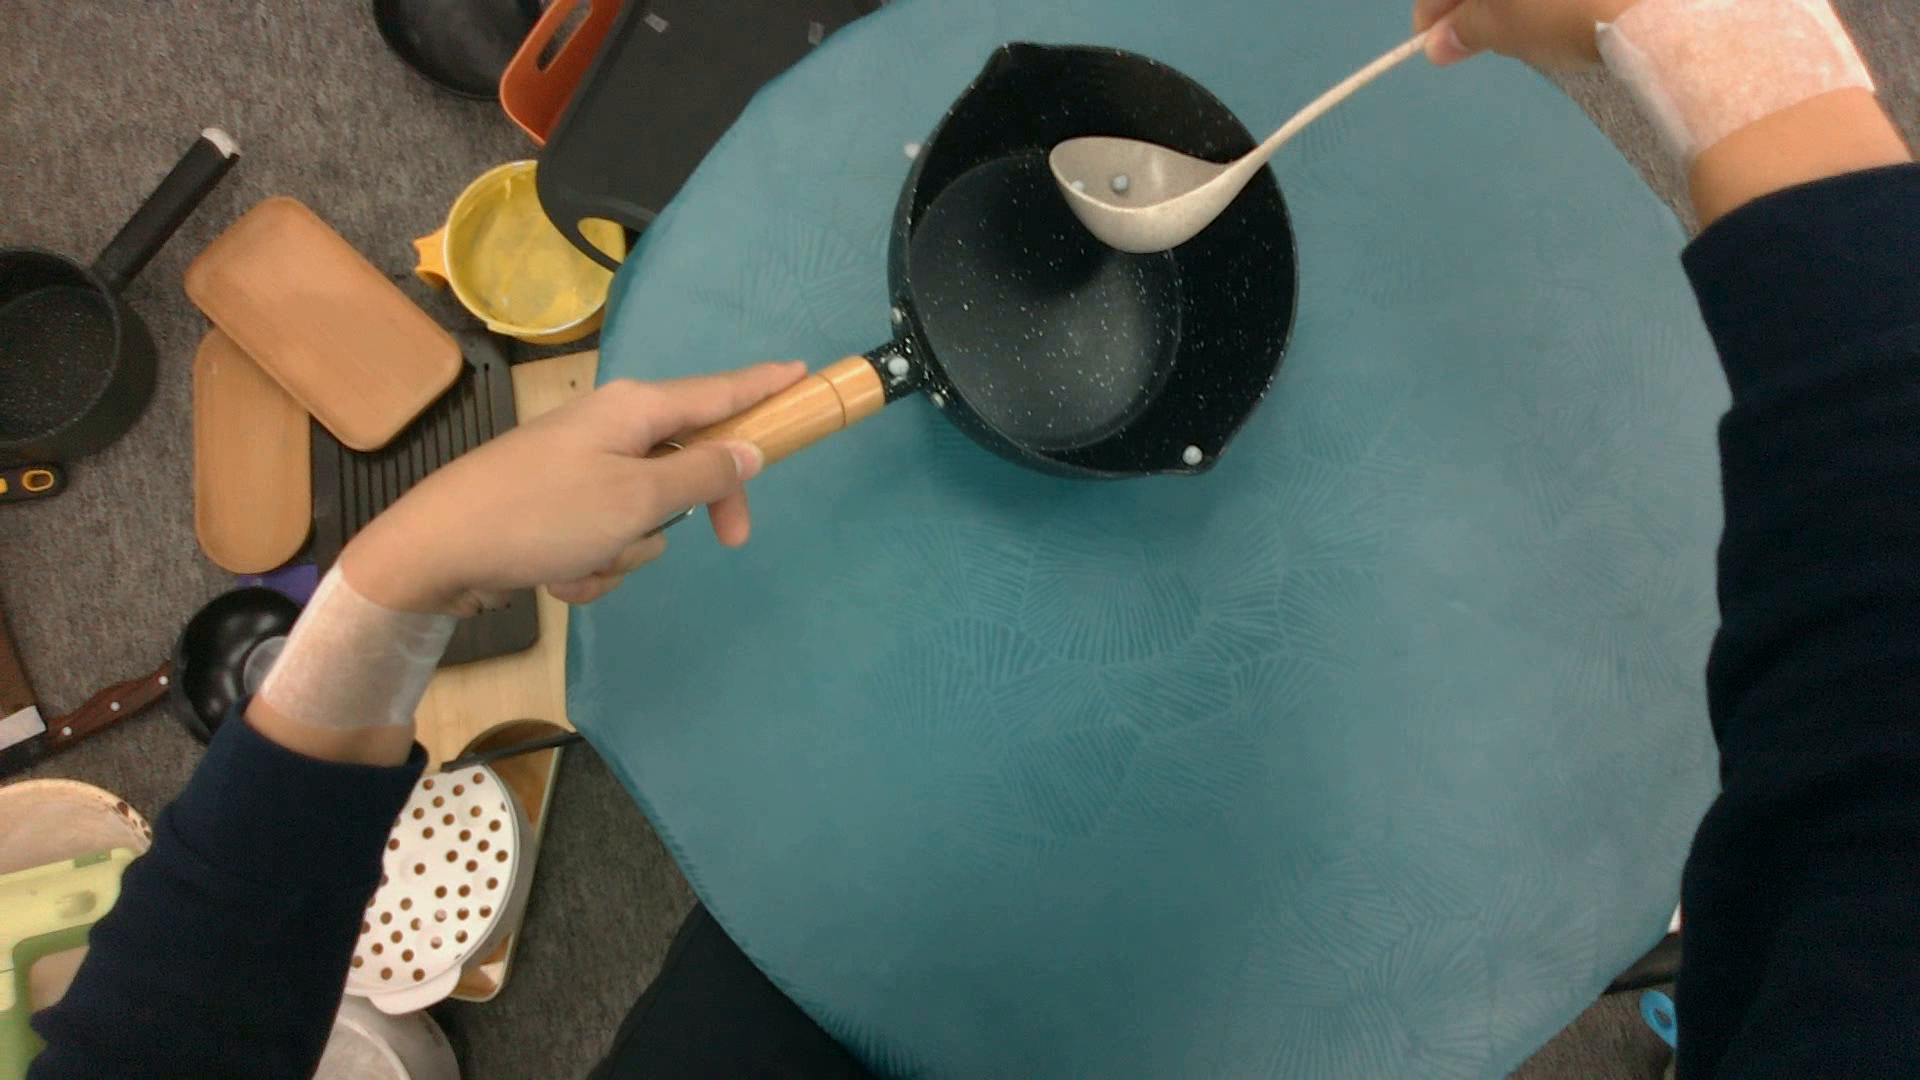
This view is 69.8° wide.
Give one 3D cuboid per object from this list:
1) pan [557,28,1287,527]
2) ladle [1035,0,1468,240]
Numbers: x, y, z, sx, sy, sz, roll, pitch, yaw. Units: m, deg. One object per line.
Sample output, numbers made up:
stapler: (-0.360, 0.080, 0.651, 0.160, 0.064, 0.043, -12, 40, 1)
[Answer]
pan: (-0.015, -0.087, 0.598, 0.344, 0.108, 0.207, -30, 97, -19)
ladle: (0.148, -0.208, 0.557, 0.069, 0.273, 0.090, 57, 39, -6)
